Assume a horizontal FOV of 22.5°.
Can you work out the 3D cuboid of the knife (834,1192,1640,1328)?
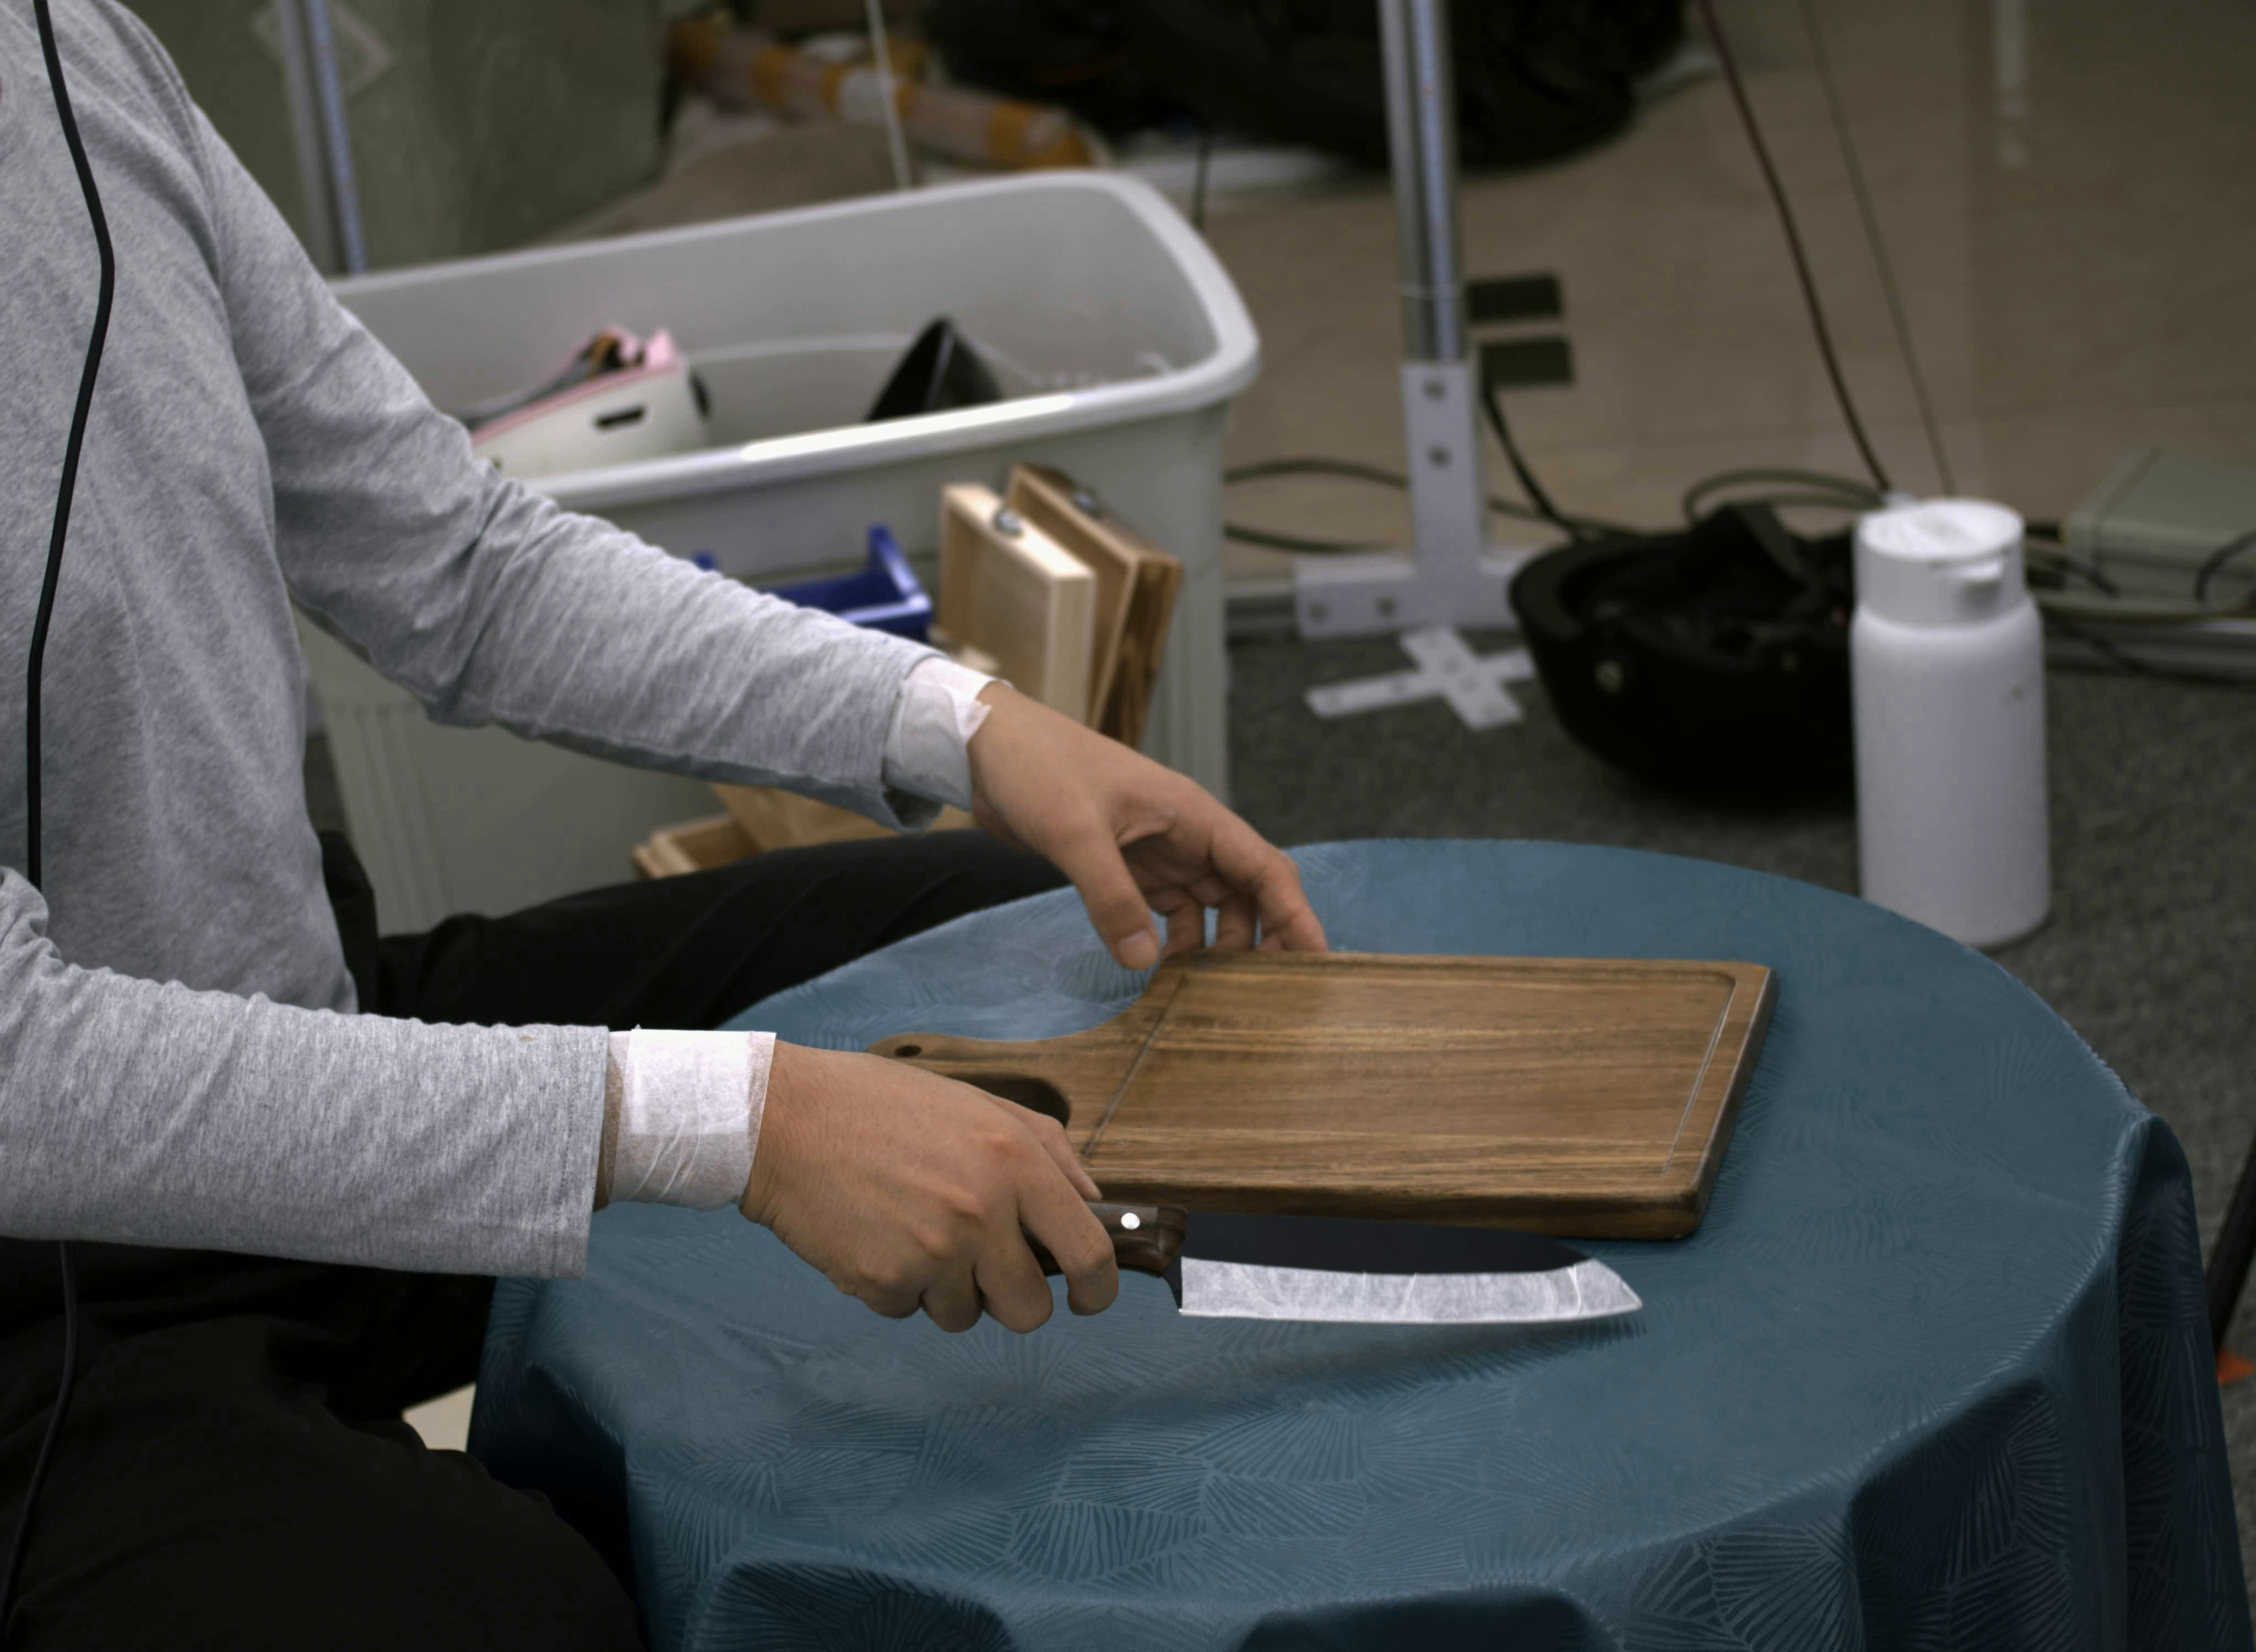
[{"bbox_3d":[0.039,0.154,2.005,0.289,0.020,0.049,5,55,-6],"label":"knife"}]

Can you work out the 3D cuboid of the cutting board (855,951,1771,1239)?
[{"bbox_3d":[0.063,0.100,2.197,0.351,0.023,0.198,1,25,16],"label":"cutting board"}]
